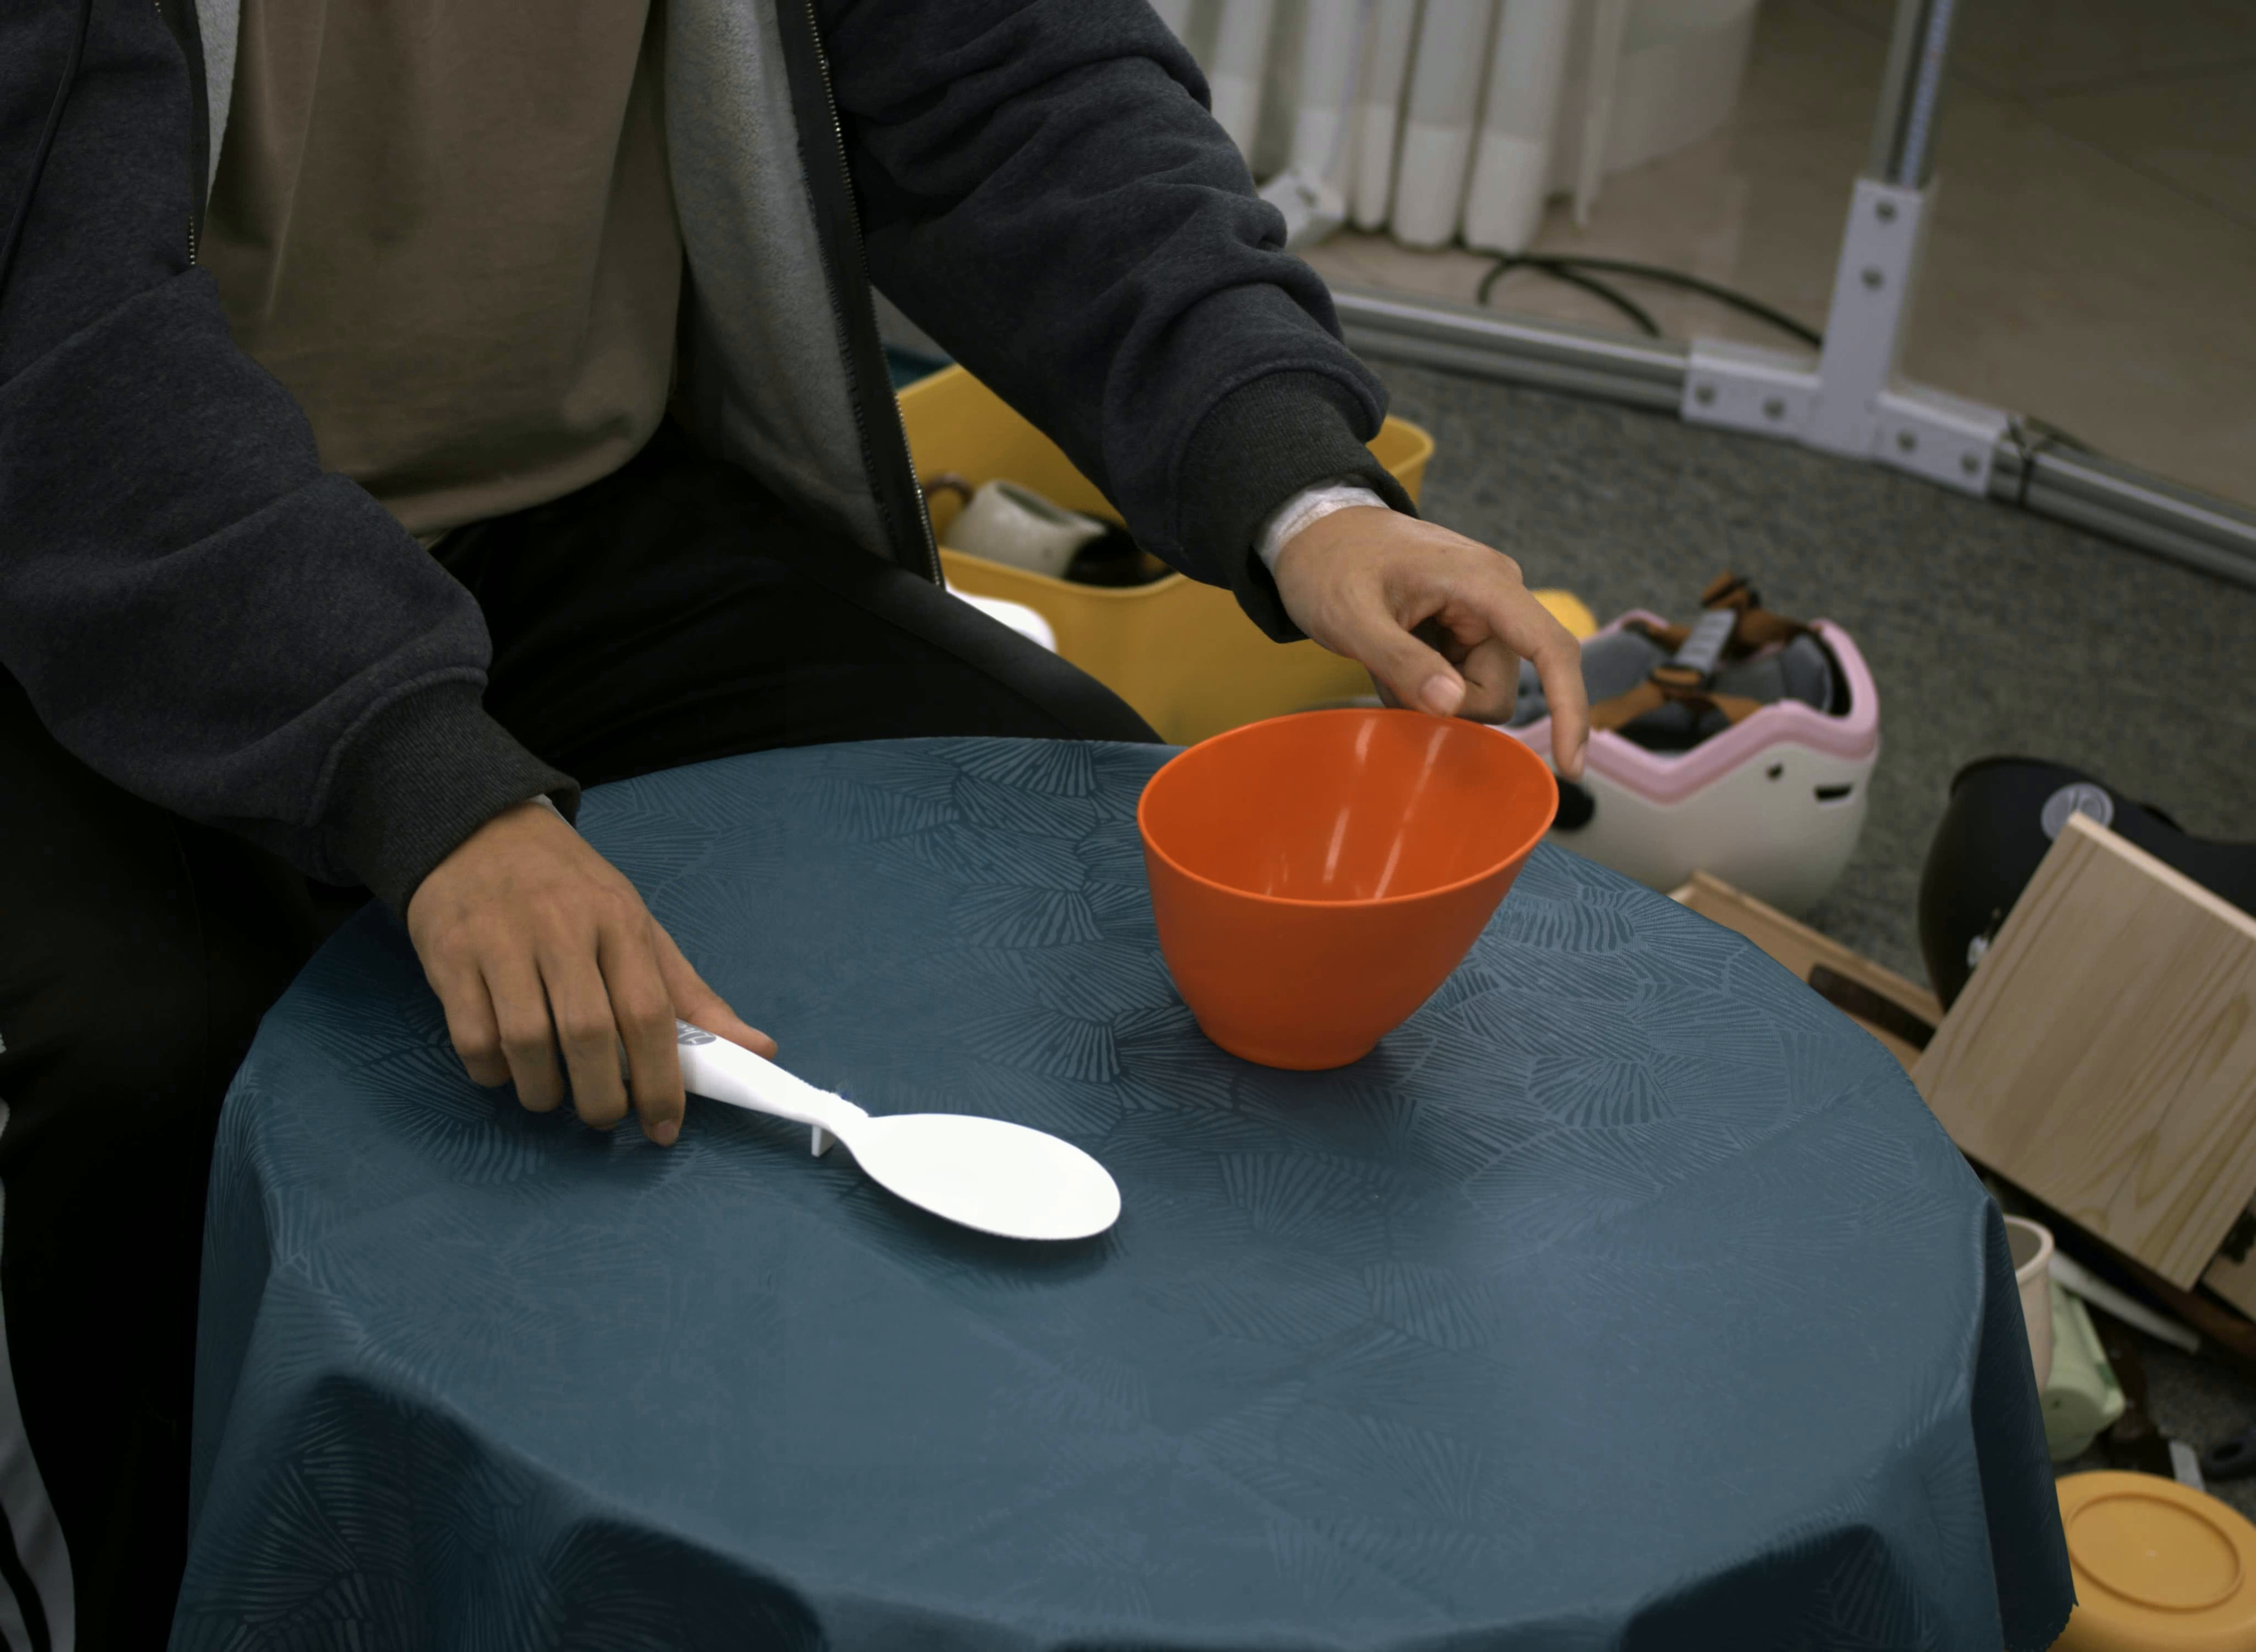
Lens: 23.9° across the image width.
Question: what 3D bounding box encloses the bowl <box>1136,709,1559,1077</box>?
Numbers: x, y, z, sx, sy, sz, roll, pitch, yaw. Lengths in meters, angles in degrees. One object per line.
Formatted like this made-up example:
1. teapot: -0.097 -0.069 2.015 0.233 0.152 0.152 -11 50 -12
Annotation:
1. bowl: 0.073 0.029 1.893 0.147 0.104 0.149 4 28 -3

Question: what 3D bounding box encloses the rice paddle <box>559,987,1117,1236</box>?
1. rice paddle: -0.097 0.098 1.797 0.206 0.029 0.069 18 30 21
